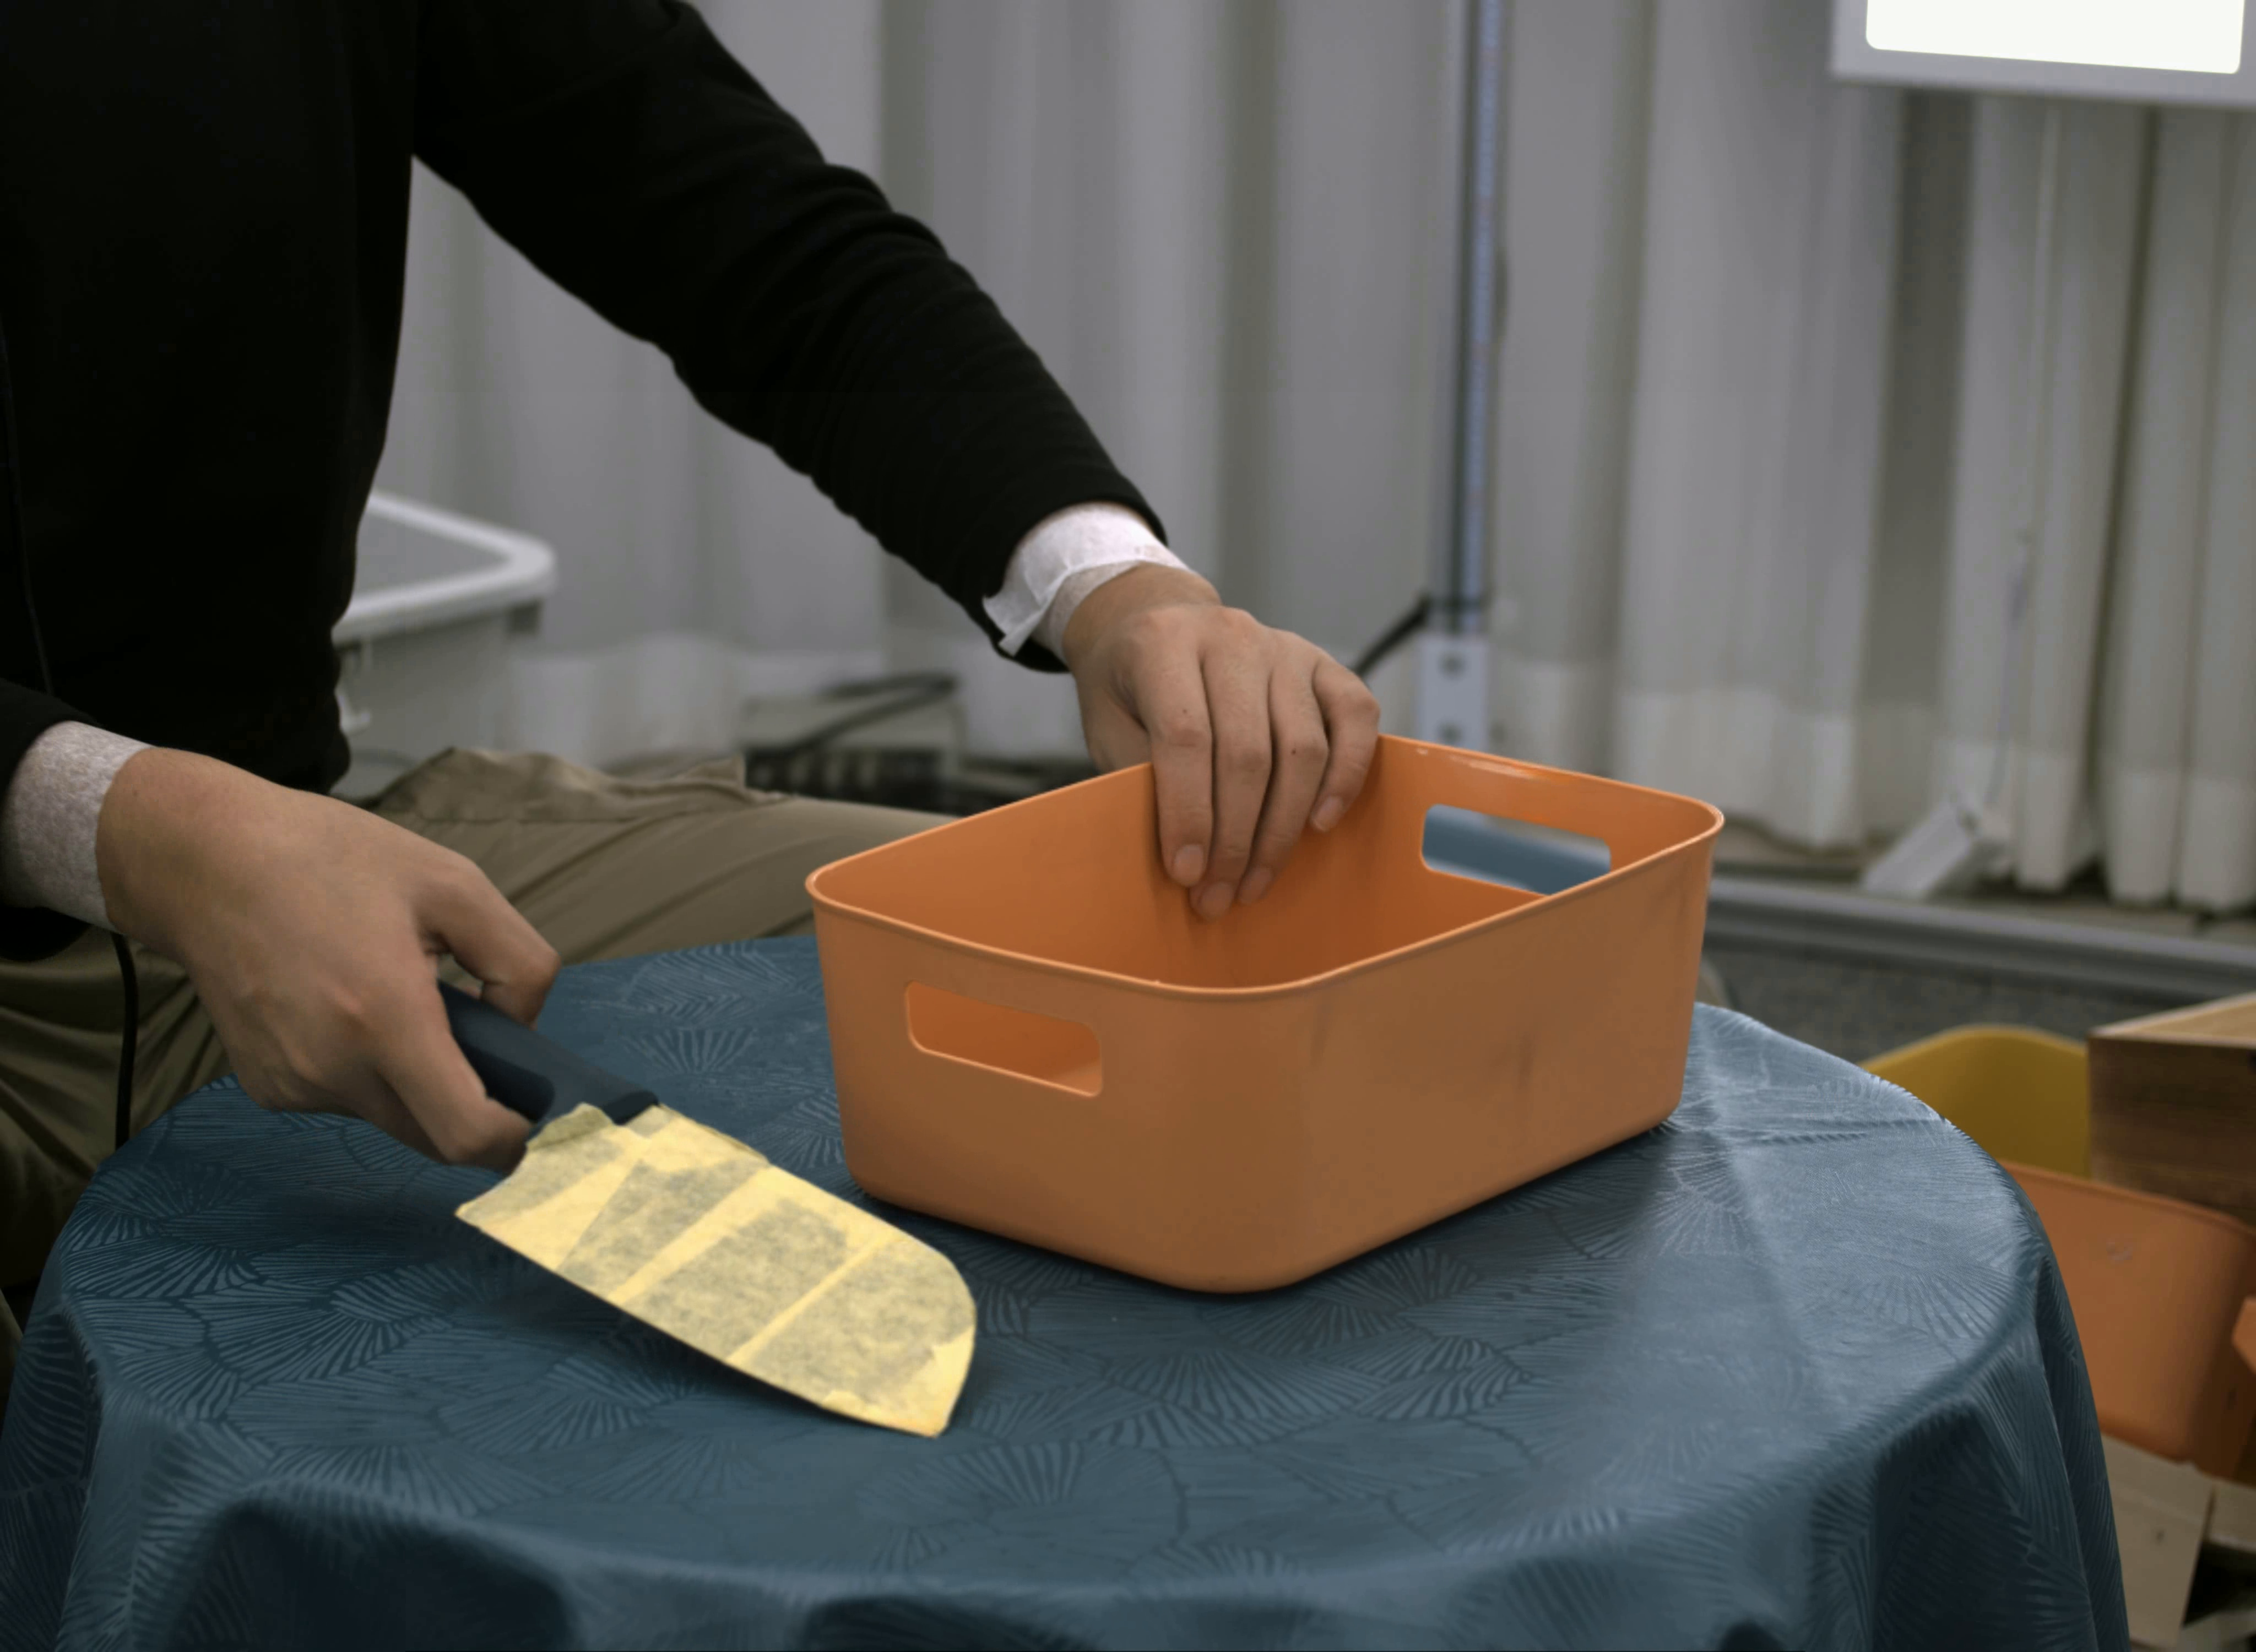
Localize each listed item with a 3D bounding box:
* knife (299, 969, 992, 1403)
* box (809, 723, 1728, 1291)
[{"bbox_3d":[-0.149,0.103,1.518,0.285,0.027,0.081,25,40,35],"label":"knife"},{"bbox_3d":[0.045,0.052,1.643,0.197,0.103,0.274,14,21,37],"label":"box"}]
